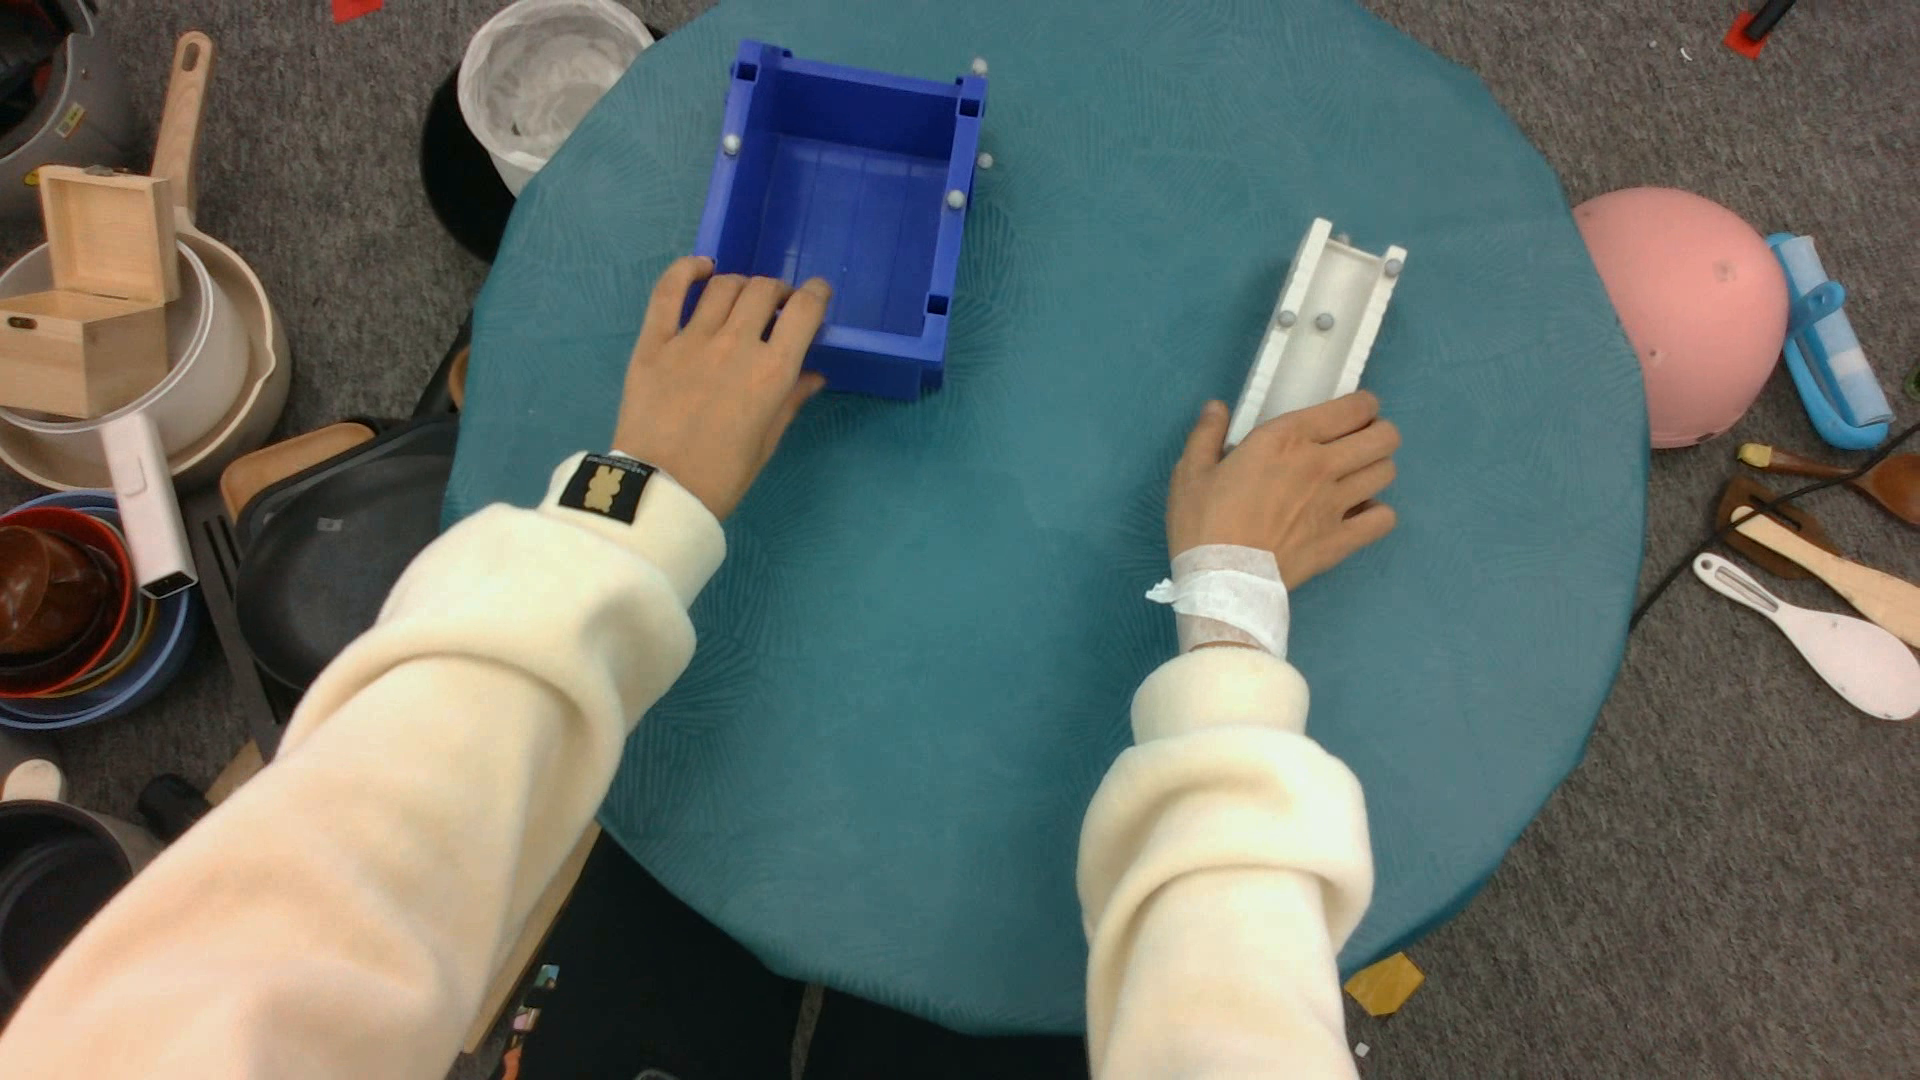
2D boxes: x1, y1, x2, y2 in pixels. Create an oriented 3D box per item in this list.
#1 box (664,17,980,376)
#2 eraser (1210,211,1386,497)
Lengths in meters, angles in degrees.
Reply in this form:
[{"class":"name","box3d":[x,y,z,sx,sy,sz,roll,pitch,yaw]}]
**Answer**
[{"class":"box","box3d":[-0.064,-0.175,0.682,0.124,0.081,0.180,10,74,-1]},{"class":"eraser","box3d":[0.168,-0.093,0.689,0.050,0.046,0.135,21,71,0]}]
